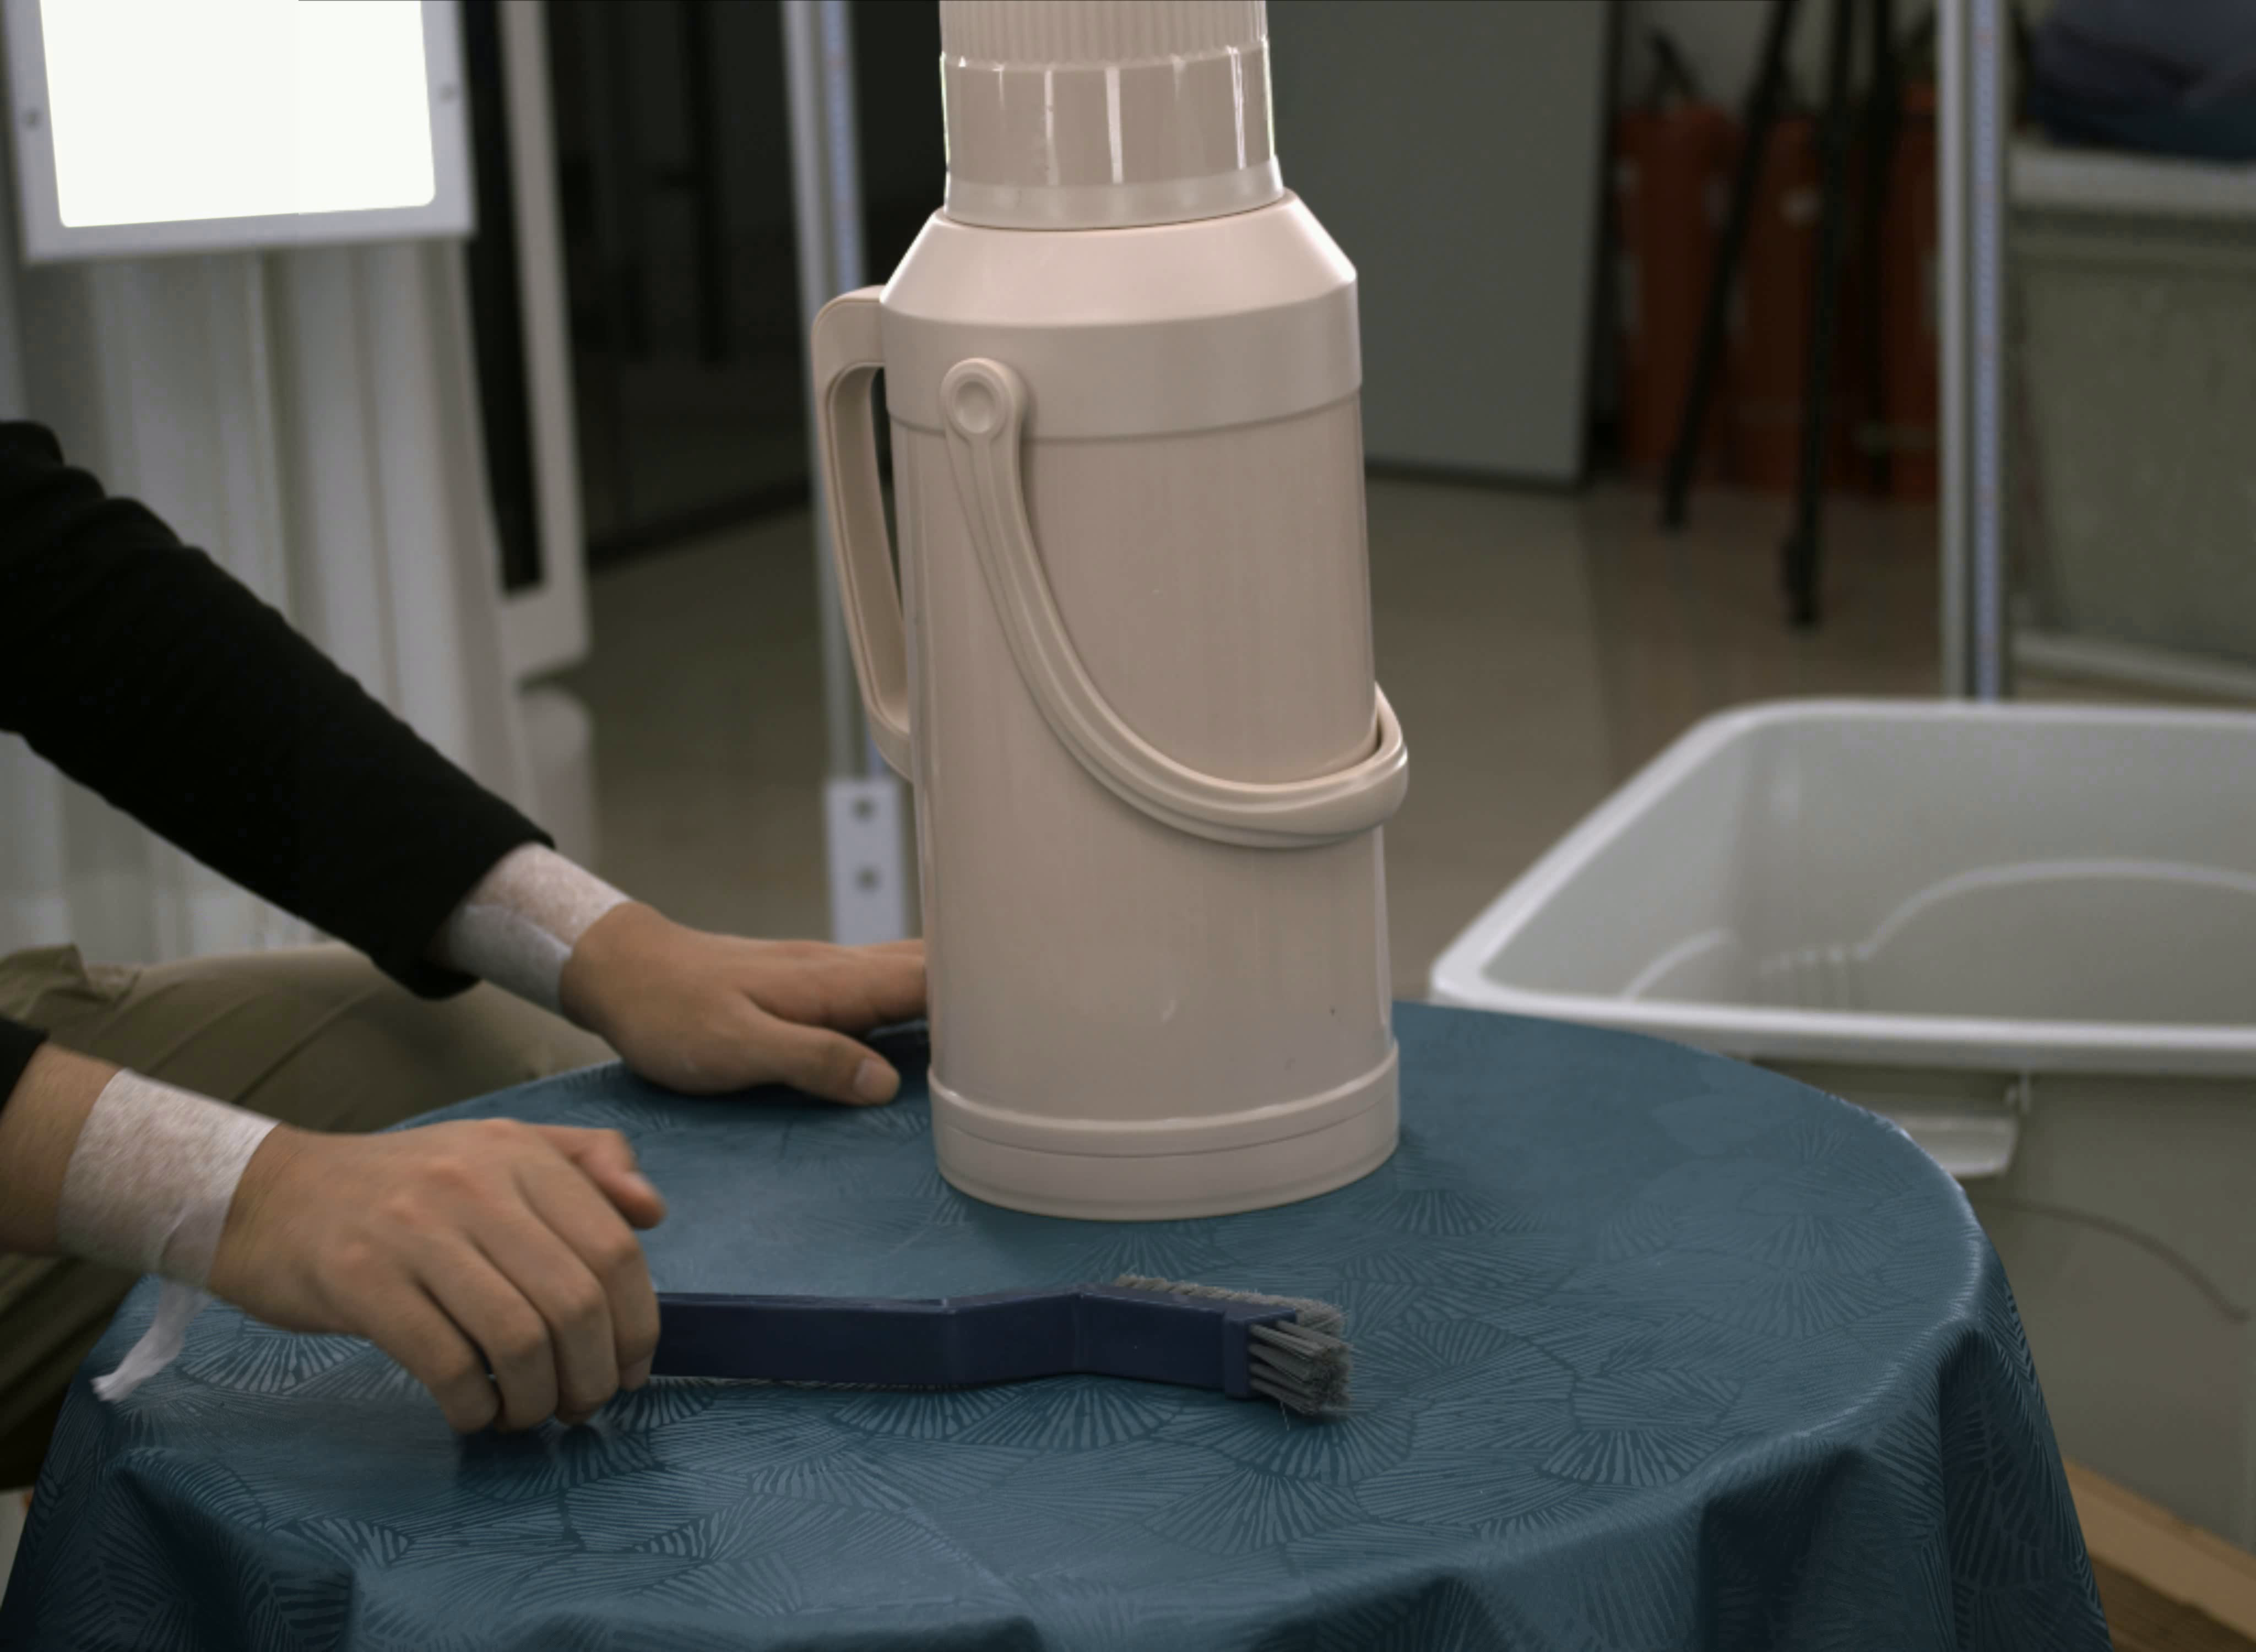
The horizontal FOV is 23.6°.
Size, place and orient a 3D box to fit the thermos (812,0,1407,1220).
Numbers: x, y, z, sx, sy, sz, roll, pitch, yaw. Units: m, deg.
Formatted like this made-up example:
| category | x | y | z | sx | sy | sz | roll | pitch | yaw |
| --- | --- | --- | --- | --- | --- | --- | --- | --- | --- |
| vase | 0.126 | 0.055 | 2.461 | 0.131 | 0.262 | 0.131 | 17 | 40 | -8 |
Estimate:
| category | x | y | z | sx | sy | sz | roll | pitch | yaw |
| --- | --- | --- | --- | --- | --- | --- | --- | --- | --- |
| thermos | -0.009 | -0.086 | 1.778 | 0.208 | 0.410 | 0.172 | 5 | 17 | 32 |

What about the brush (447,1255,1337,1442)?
| category | x | y | z | sx | sy | sz | roll | pitch | yaw |
| --- | --- | --- | --- | --- | --- | --- | --- | --- | --- |
| brush | -0.073 | 0.153 | 1.593 | 0.270 | 0.034 | 0.095 | 0 | 13 | 6 |
